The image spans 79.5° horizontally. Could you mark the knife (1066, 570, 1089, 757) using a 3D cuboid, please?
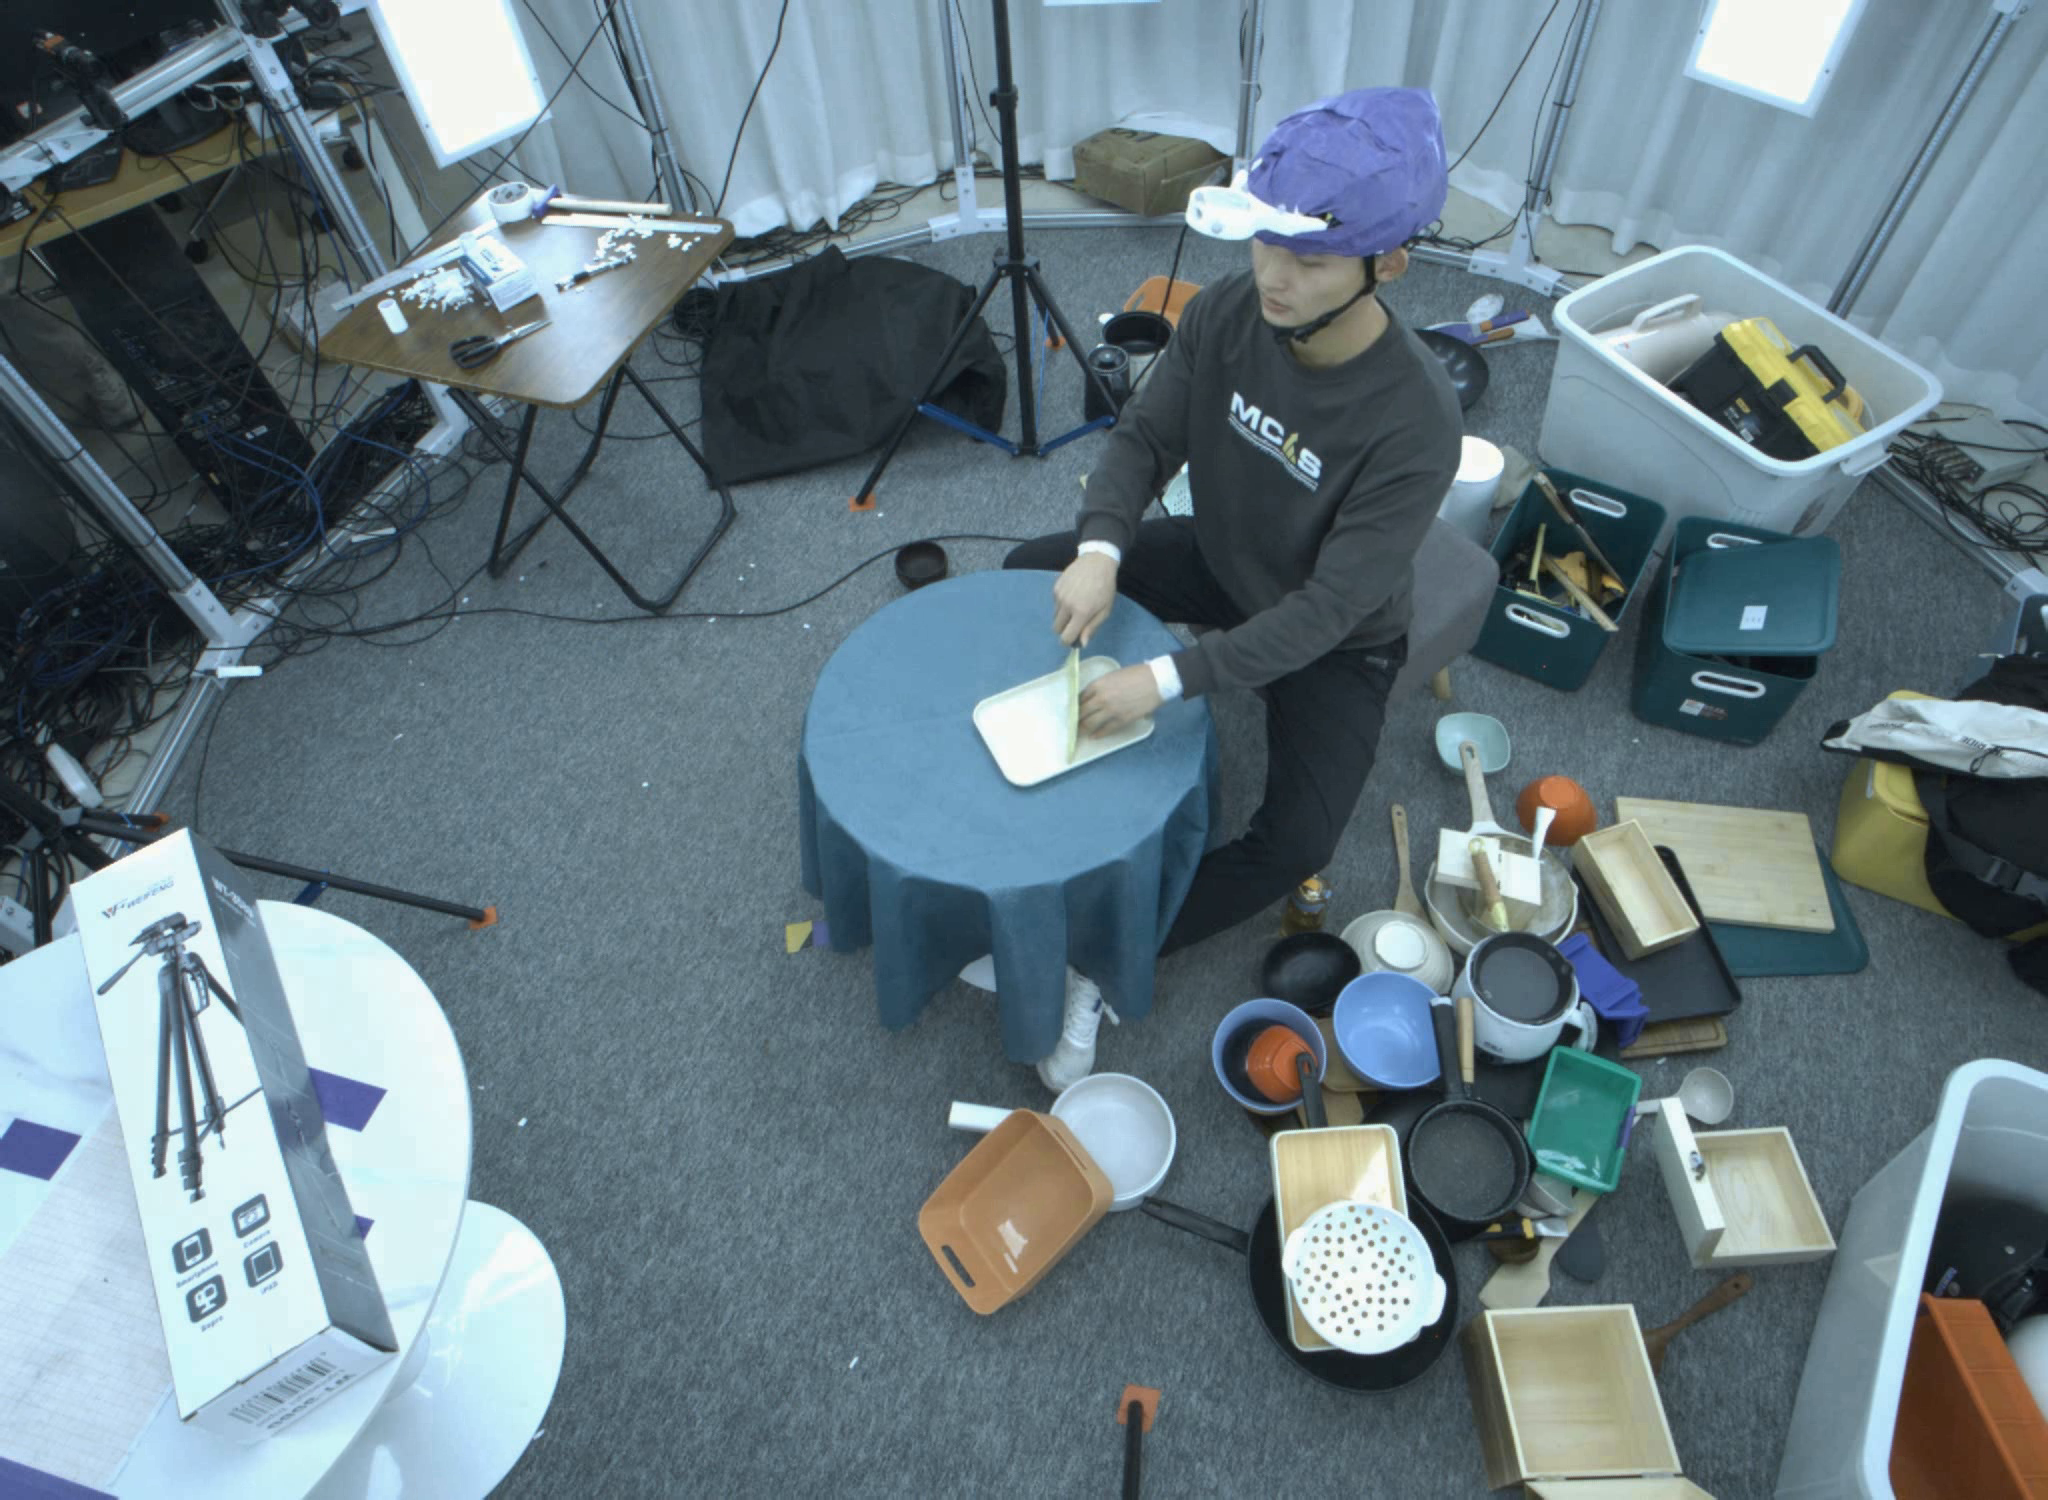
[{"bbox_3d":[0.073,-0.127,1.800,0.027,0.081,0.288,7,72,-10],"label":"knife"}]

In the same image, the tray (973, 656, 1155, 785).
[{"bbox_3d":[0.058,-0.044,1.814,0.241,0.017,0.168,-22,57,-14],"label":"tray"}]
